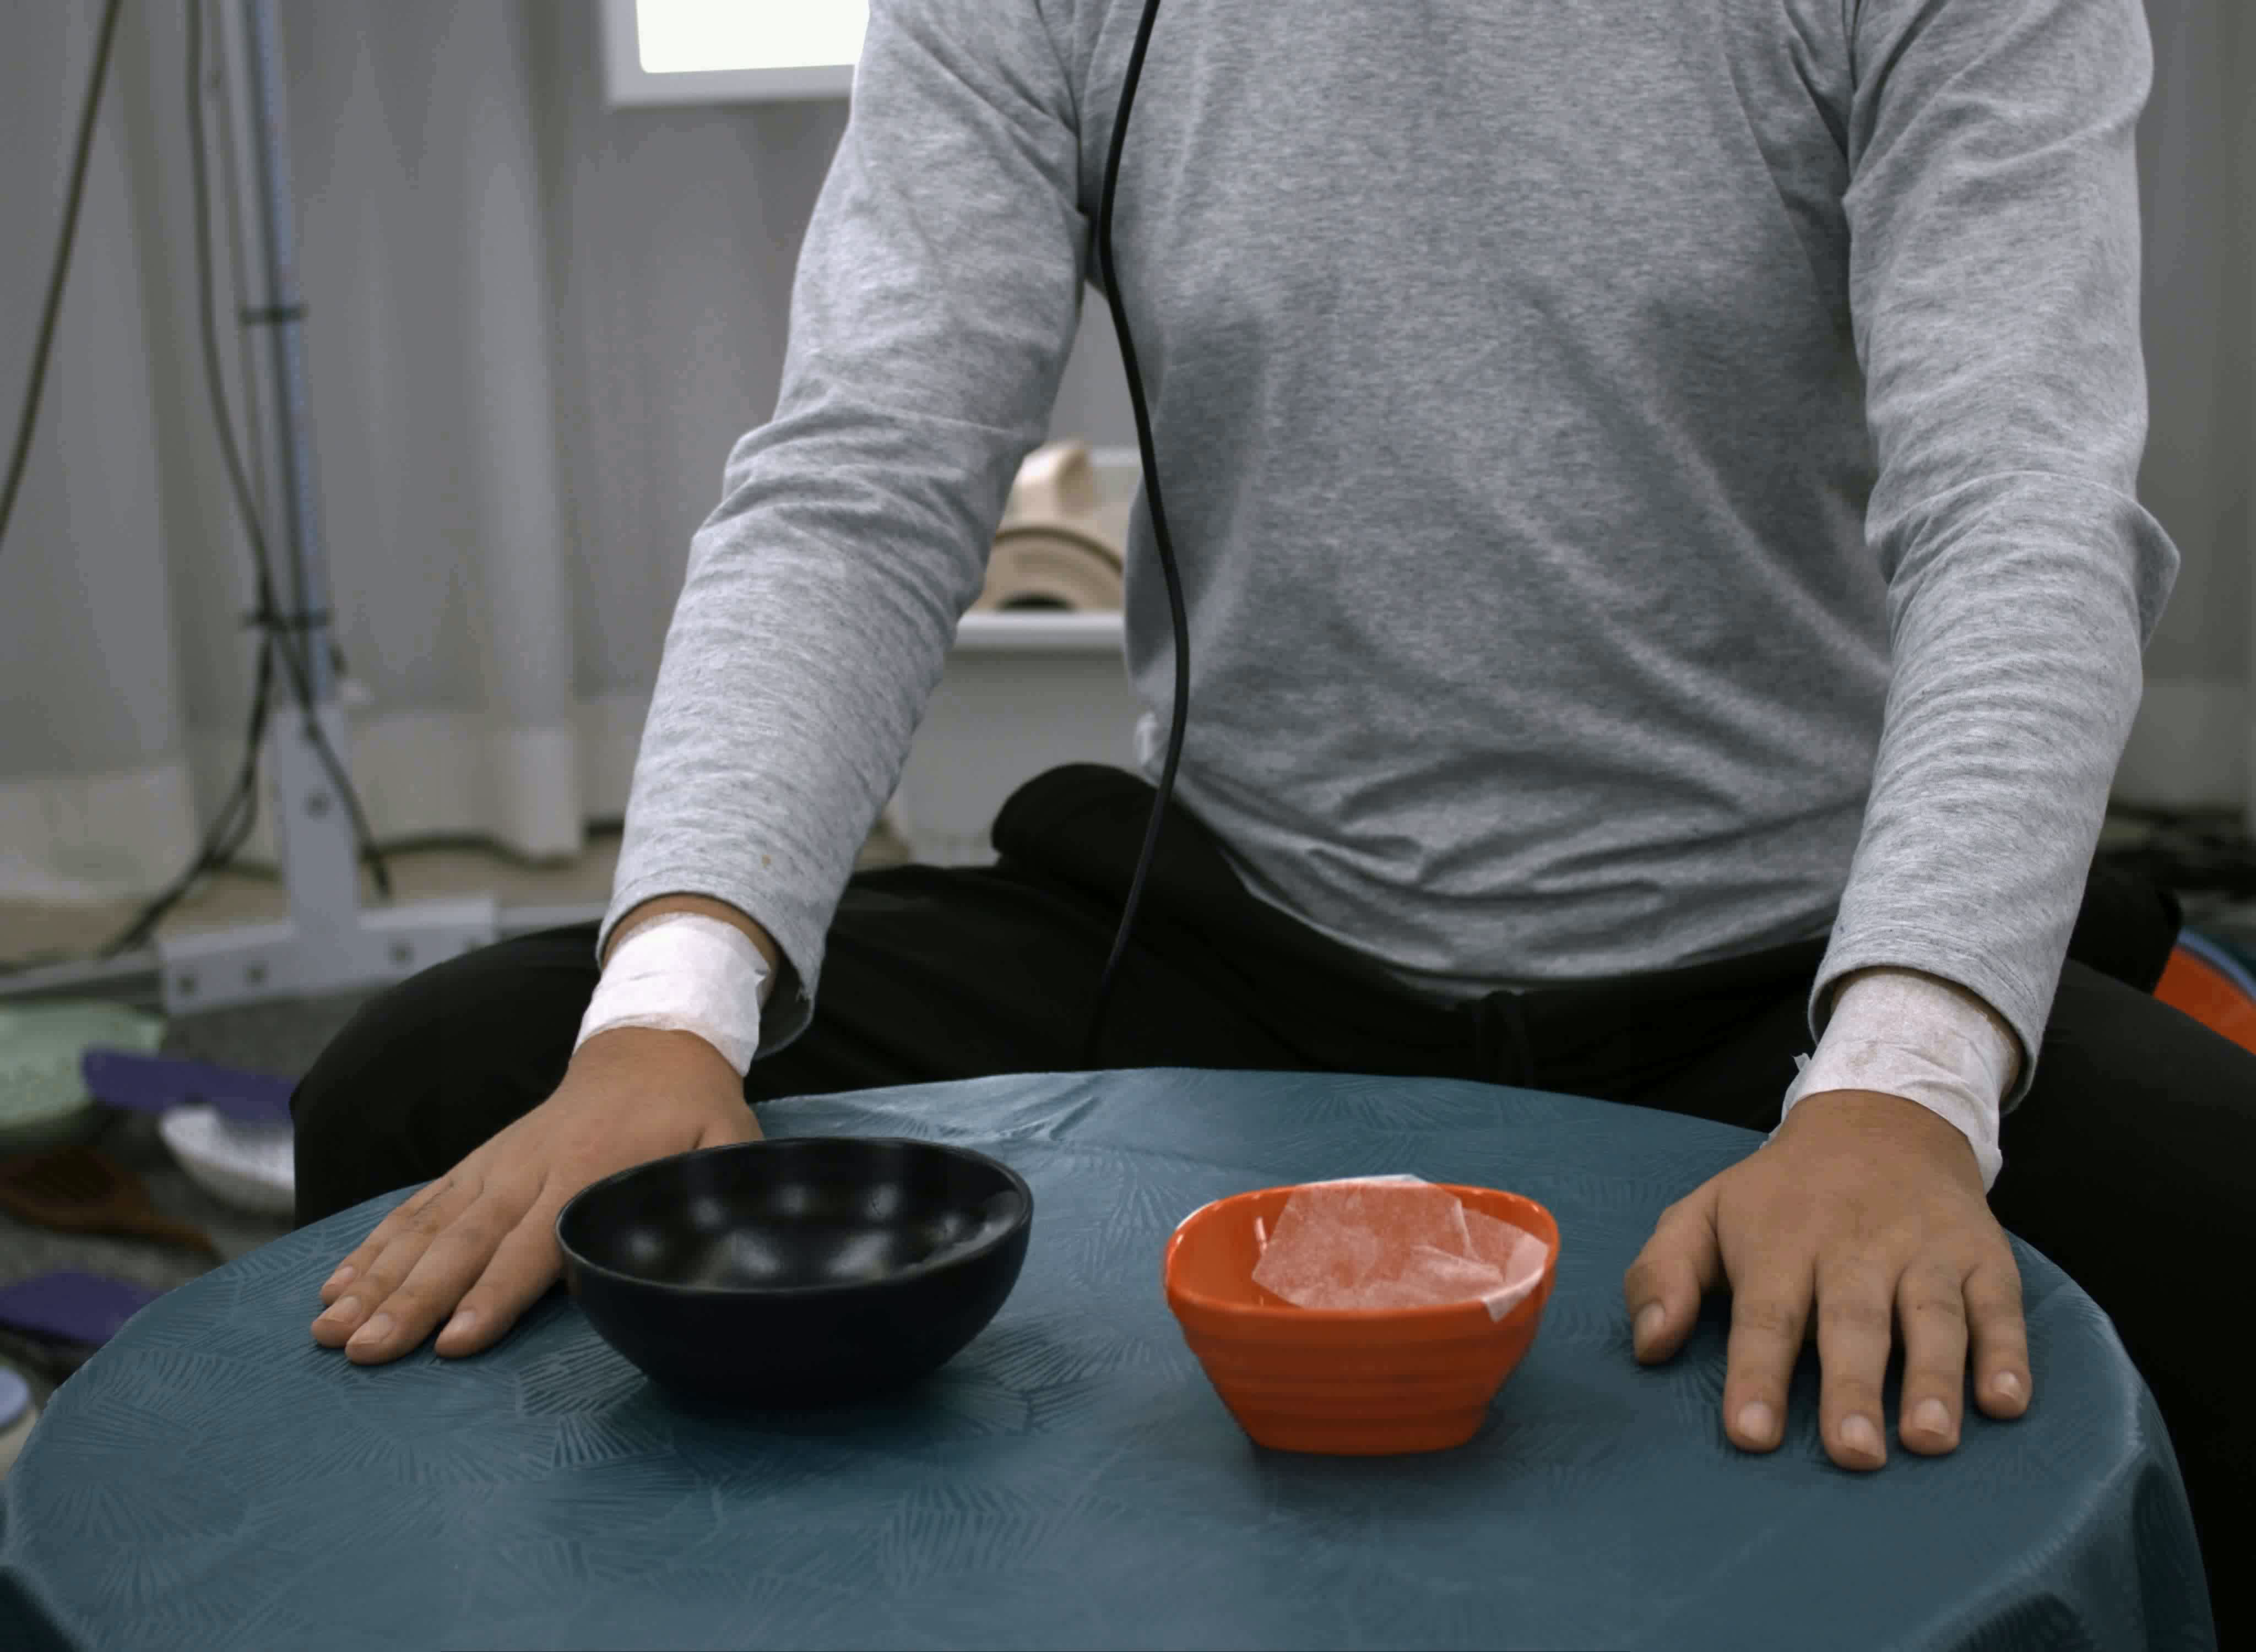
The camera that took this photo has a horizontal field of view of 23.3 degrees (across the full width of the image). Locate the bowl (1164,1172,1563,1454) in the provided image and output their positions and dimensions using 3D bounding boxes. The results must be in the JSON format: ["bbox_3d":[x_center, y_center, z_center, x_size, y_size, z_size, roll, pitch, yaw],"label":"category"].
[{"bbox_3d":[0.067,0.138,1.515,0.118,0.051,0.120,-4,16,1],"label":"bowl"}]

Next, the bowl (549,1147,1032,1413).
[{"bbox_3d":[-0.096,0.135,1.571,0.139,0.049,0.141,-2,12,0],"label":"bowl"}]
